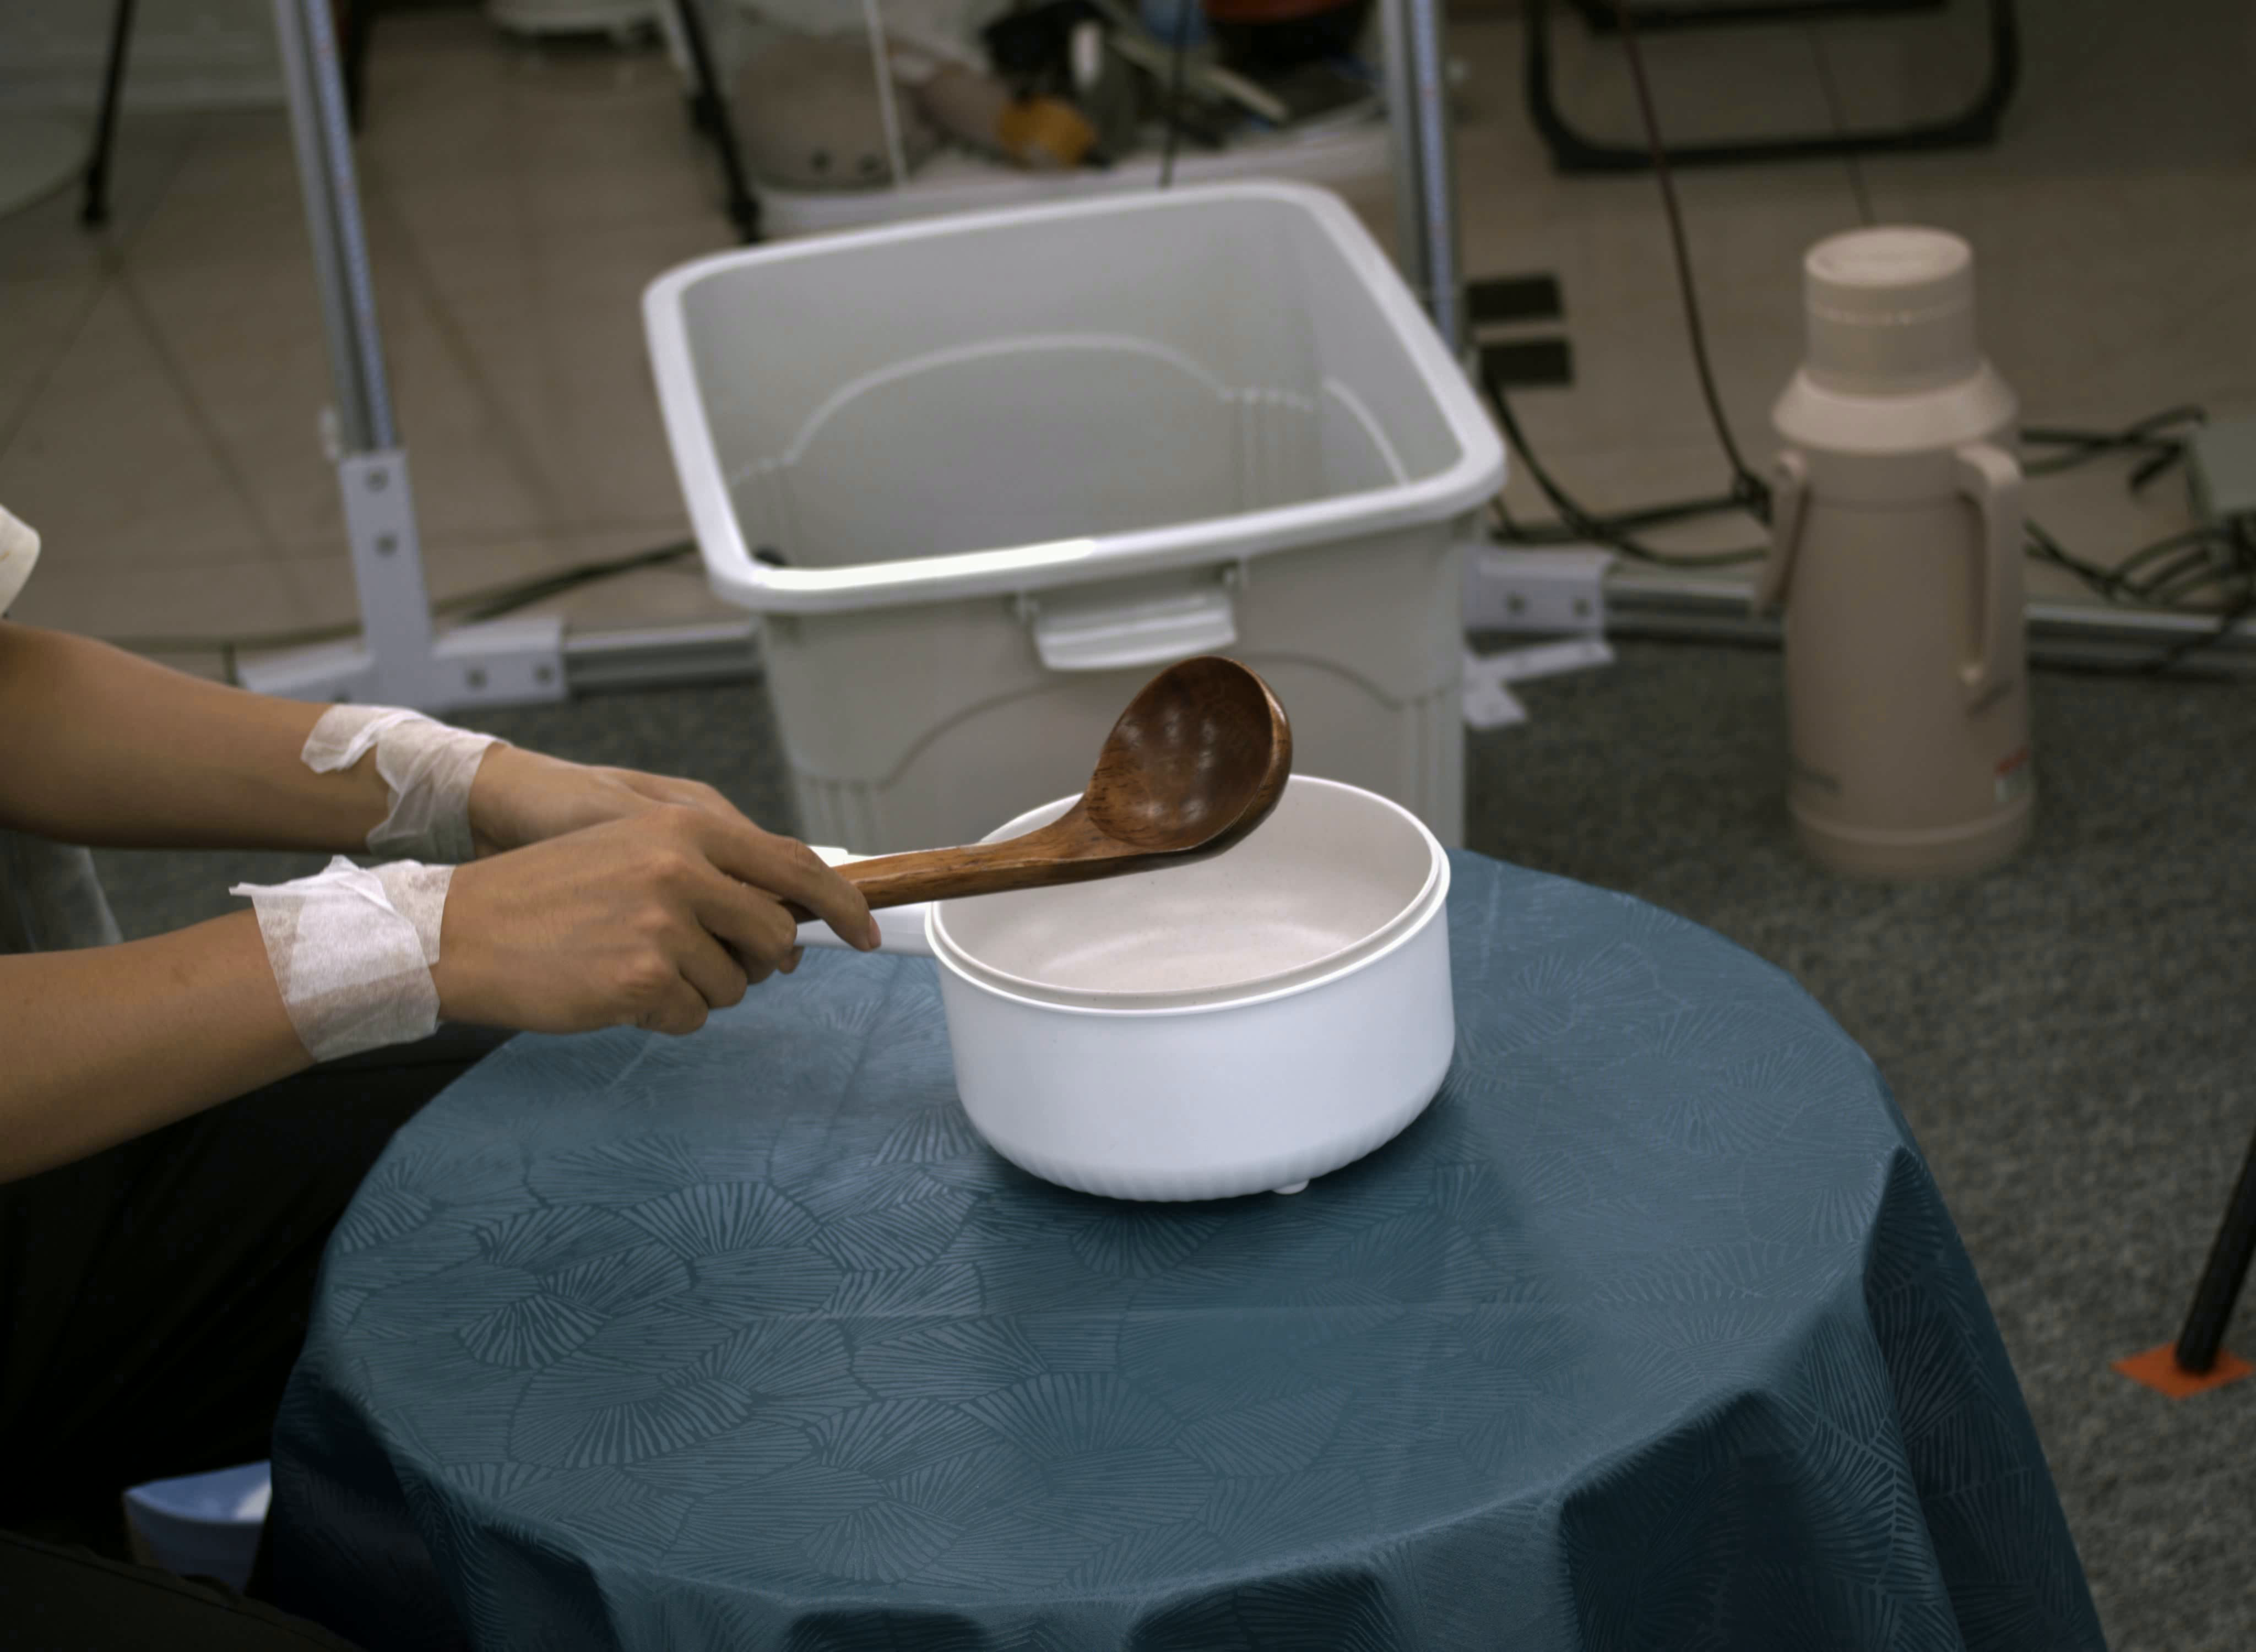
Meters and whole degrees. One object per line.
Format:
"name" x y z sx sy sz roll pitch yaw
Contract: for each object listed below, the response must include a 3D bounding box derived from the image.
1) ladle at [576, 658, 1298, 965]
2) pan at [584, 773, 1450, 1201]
"ladle" -0.064 -0.006 1.997 0.273 0.078 0.081 -9 29 -28
"pan" -0.045 0.060 2.211 0.354 0.104 0.198 4 28 23
